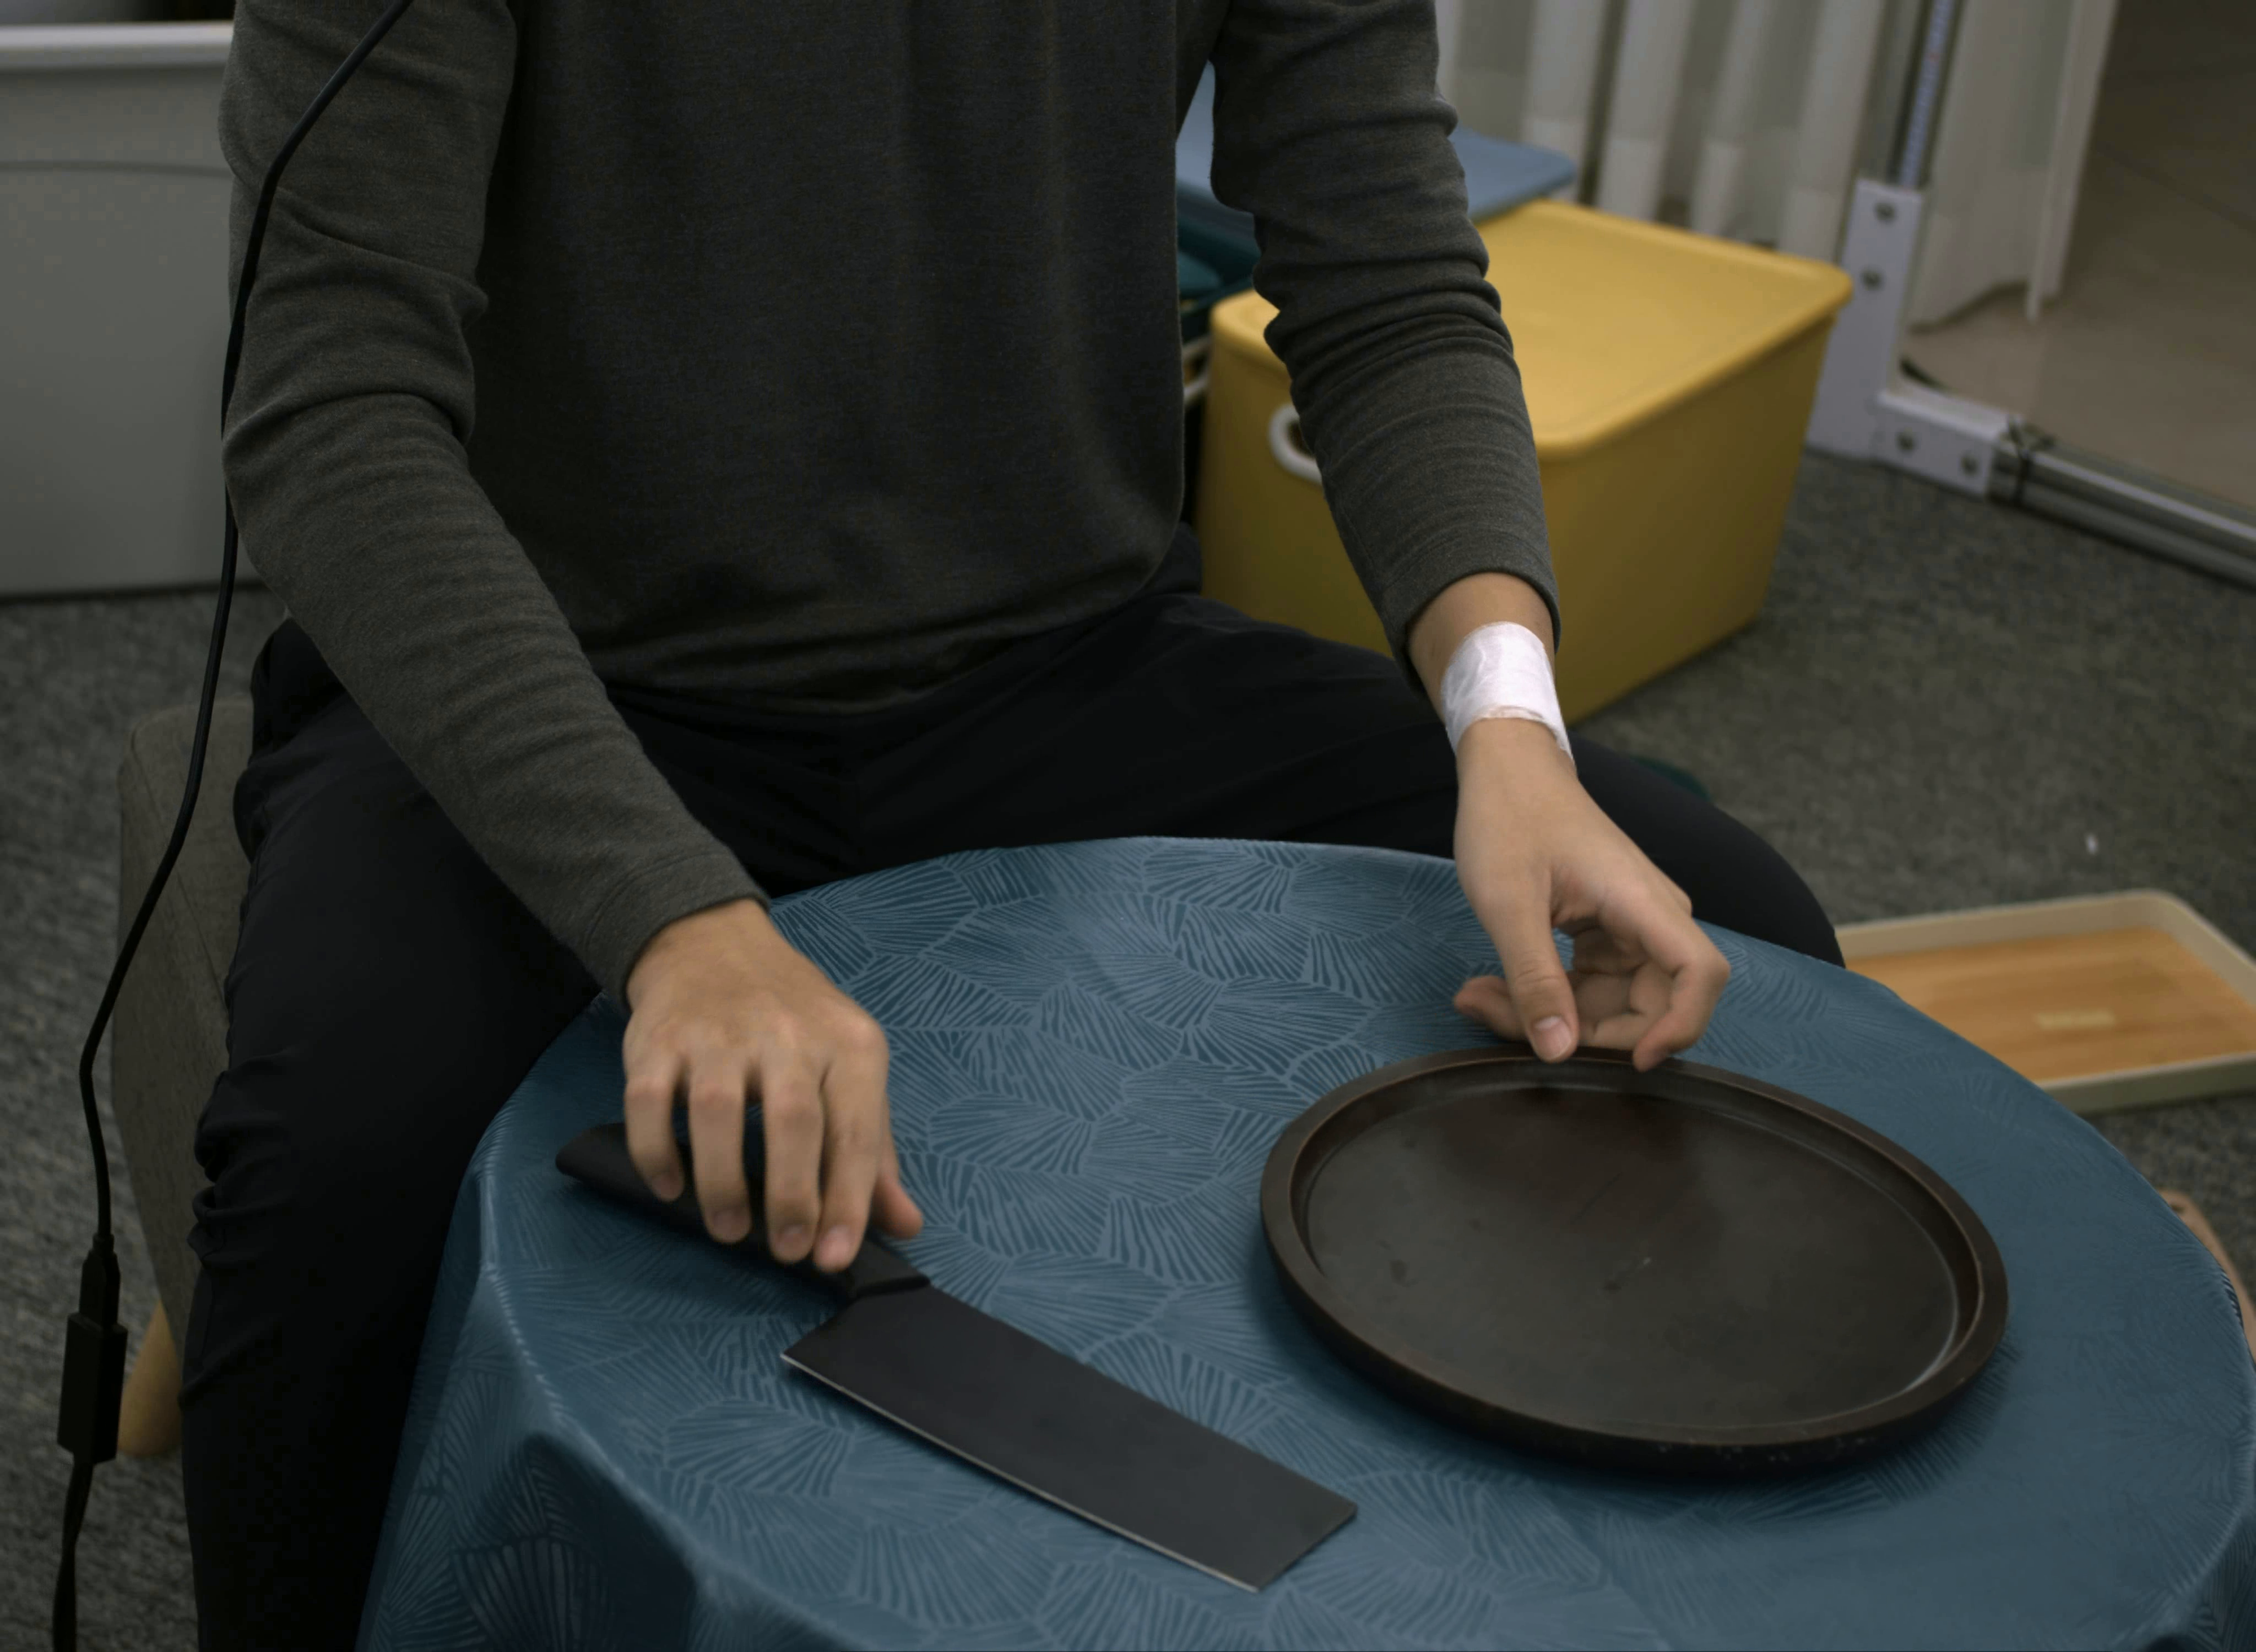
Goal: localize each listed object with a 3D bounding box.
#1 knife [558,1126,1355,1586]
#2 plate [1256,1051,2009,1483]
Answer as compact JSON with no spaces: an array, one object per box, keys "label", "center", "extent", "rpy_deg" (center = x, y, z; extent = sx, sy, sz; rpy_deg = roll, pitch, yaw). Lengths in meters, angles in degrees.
[{"label":"knife","center":[-0.065,0.166,1.693],"extent":[0.304,0.021,0.080],"rpy_deg":[27,34,31]},{"label":"plate","center":[0.167,0.145,1.777],"extent":[0.254,0.029,0.256],"rpy_deg":[5,28,-3]}]
